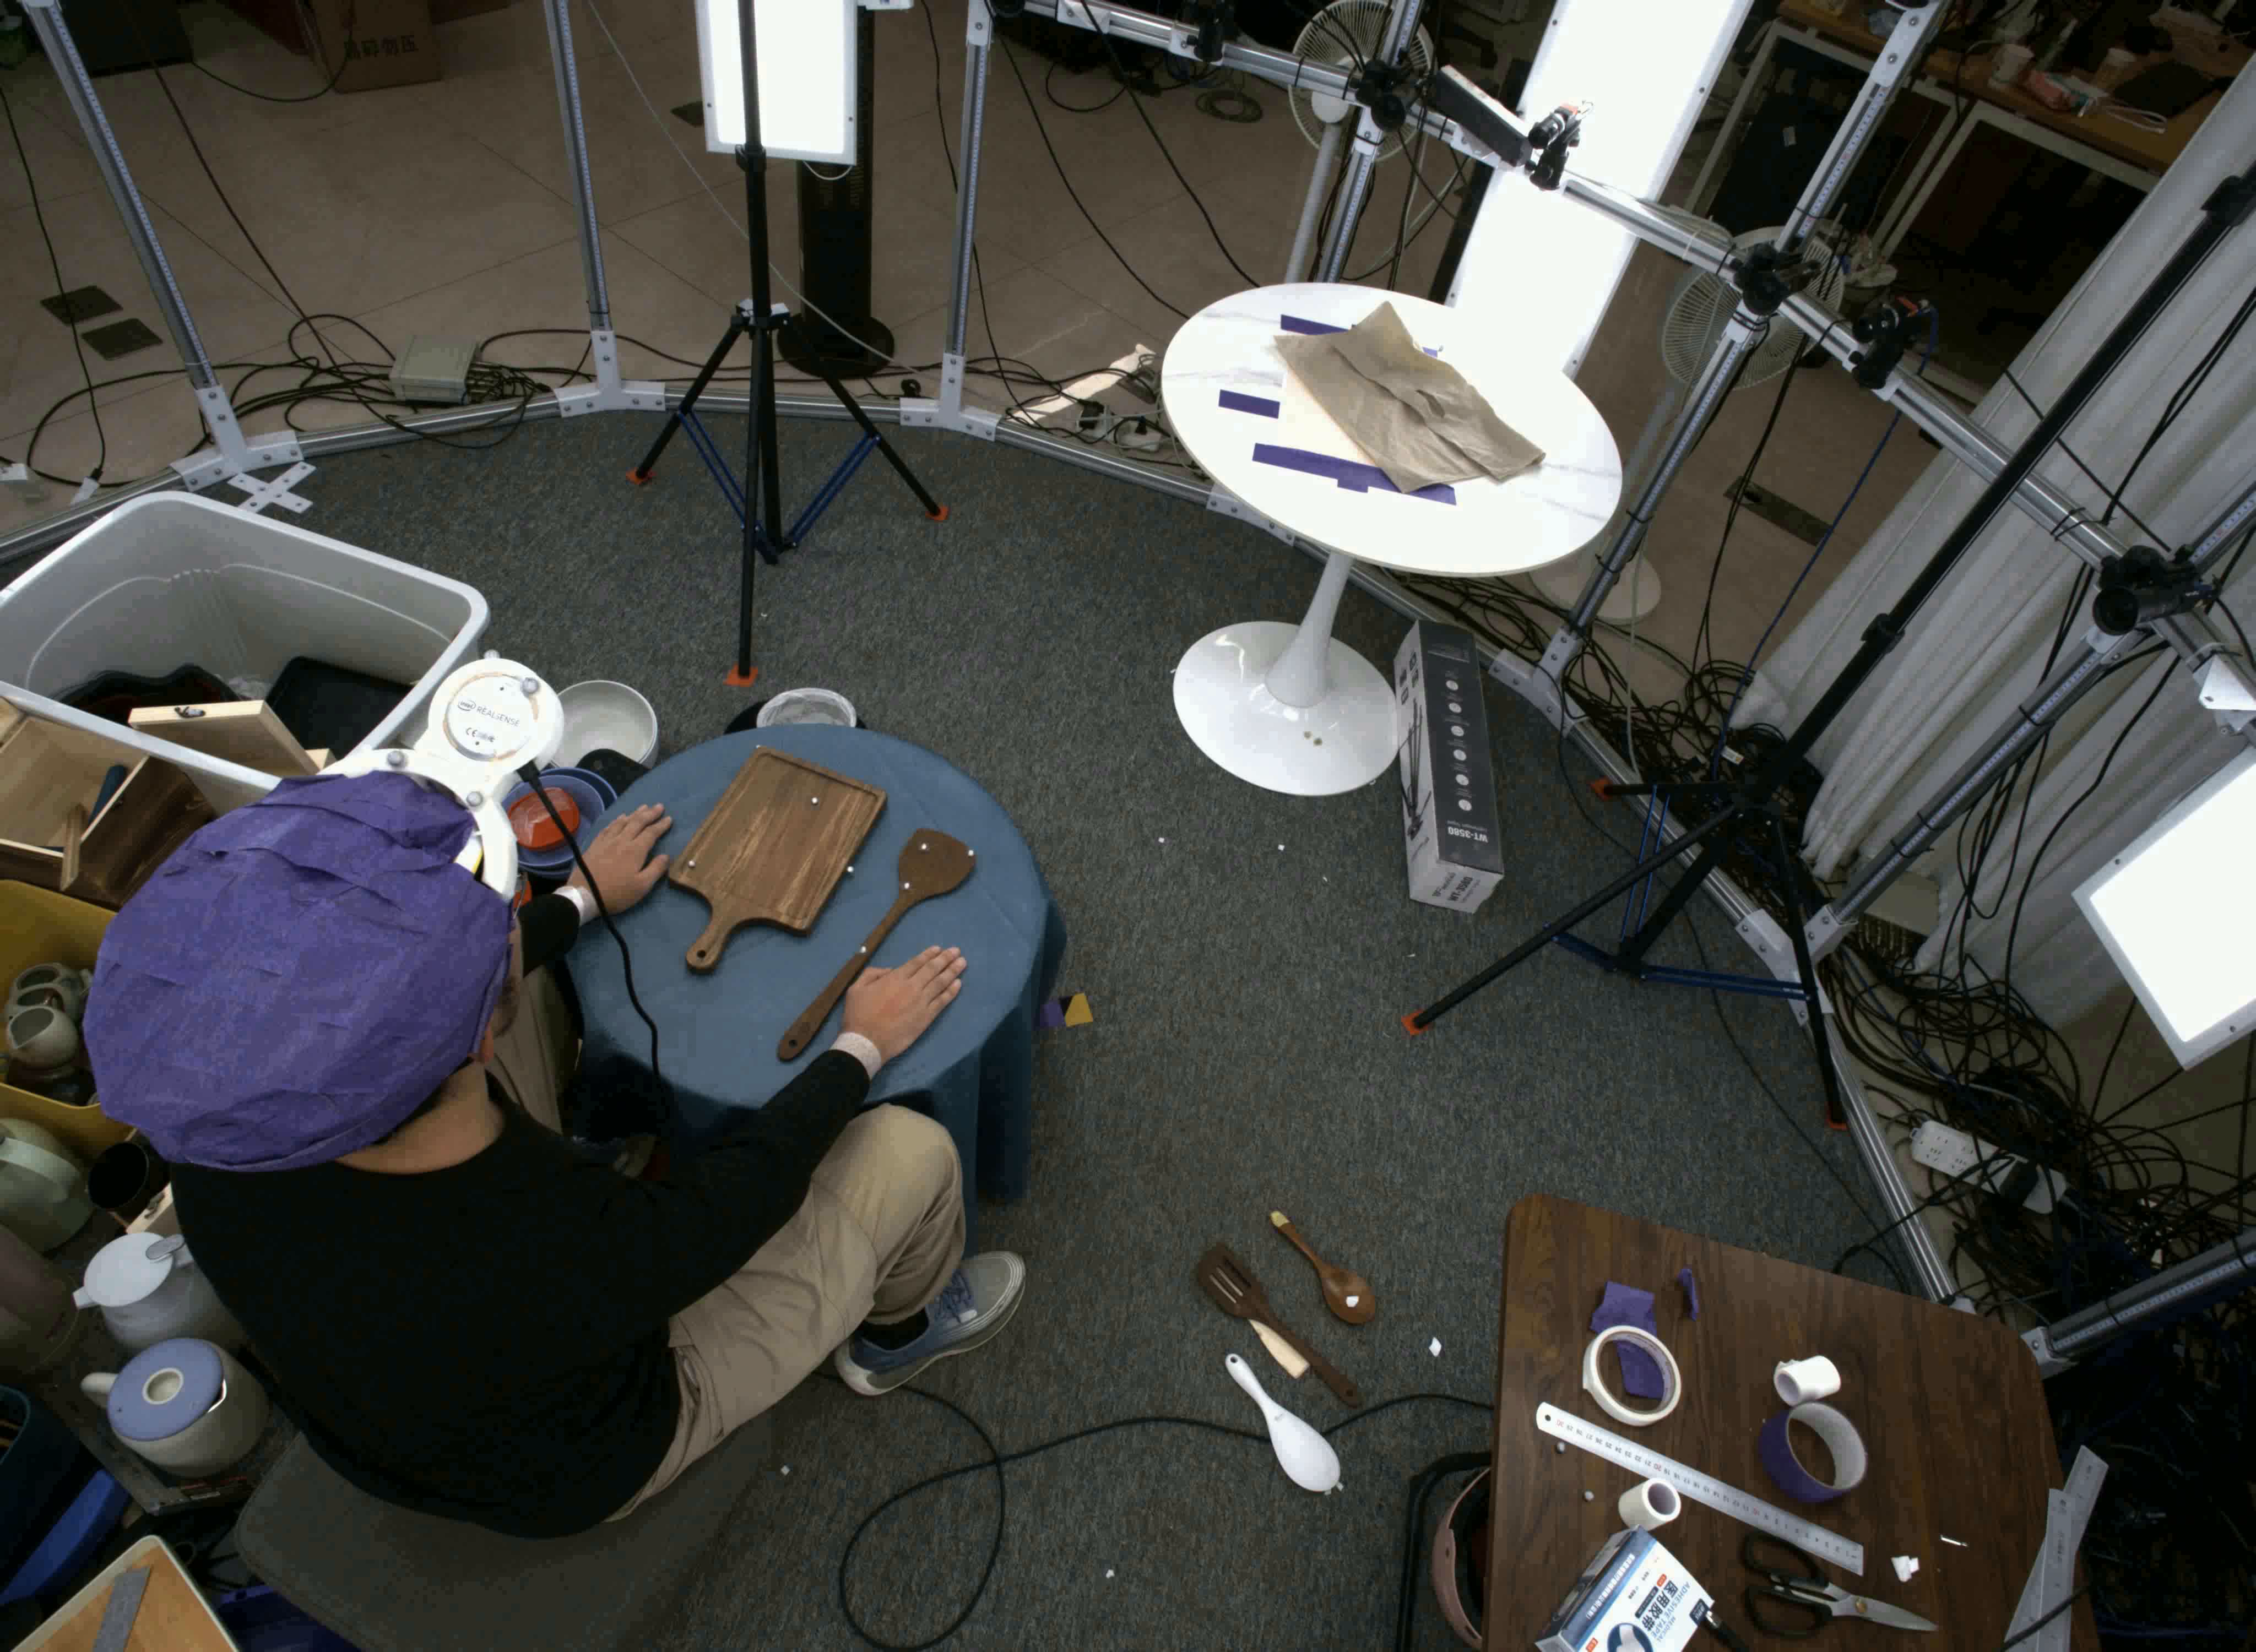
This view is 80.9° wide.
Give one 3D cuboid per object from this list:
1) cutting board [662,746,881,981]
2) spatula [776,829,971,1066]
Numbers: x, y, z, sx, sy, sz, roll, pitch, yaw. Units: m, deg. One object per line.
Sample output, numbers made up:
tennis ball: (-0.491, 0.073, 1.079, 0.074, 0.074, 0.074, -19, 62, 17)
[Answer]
cutting board: (-0.474, 0.049, 1.655, 0.199, 0.023, 0.348, 21, 51, 1)
spatula: (-0.324, 0.145, 1.628, 0.094, 0.016, 0.384, 27, 52, 7)
